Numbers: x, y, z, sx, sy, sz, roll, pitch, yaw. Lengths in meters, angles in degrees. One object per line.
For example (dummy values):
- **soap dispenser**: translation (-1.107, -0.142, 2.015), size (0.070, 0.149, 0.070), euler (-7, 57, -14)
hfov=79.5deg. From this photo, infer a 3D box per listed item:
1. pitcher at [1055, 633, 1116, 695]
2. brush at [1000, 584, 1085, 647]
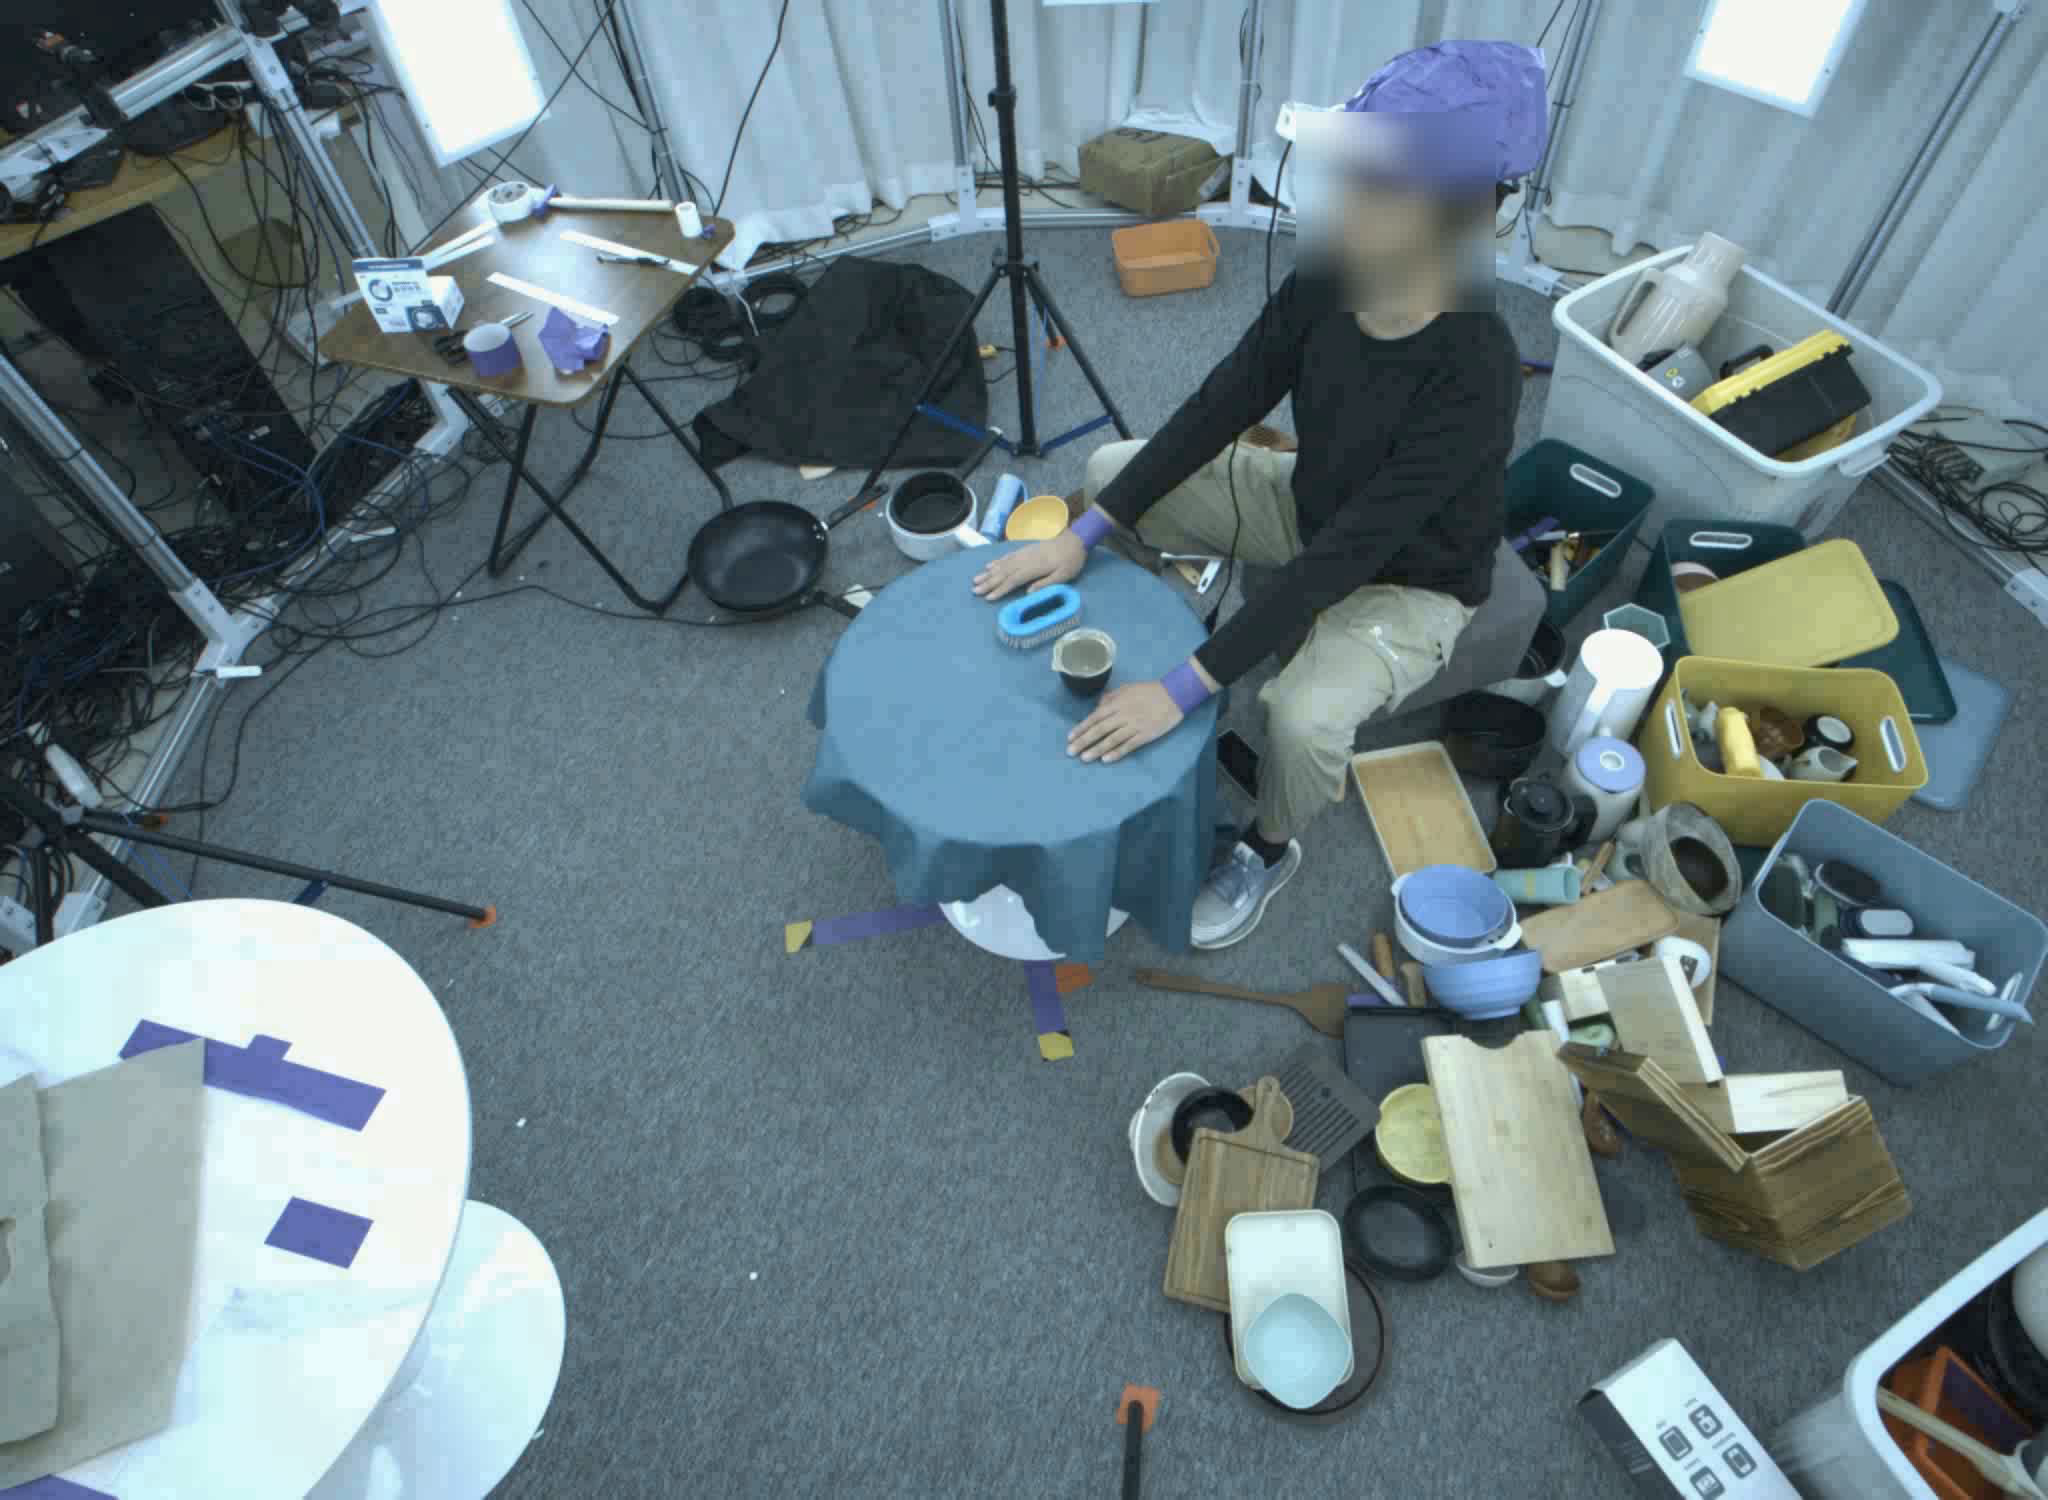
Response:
- **pitcher**: translation (0.091, -0.122, 1.827), size (0.096, 0.072, 0.082), euler (-22, 58, -11)
- **brush**: translation (0.026, -0.220, 1.904), size (0.143, 0.064, 0.082), euler (-24, 53, -15)
